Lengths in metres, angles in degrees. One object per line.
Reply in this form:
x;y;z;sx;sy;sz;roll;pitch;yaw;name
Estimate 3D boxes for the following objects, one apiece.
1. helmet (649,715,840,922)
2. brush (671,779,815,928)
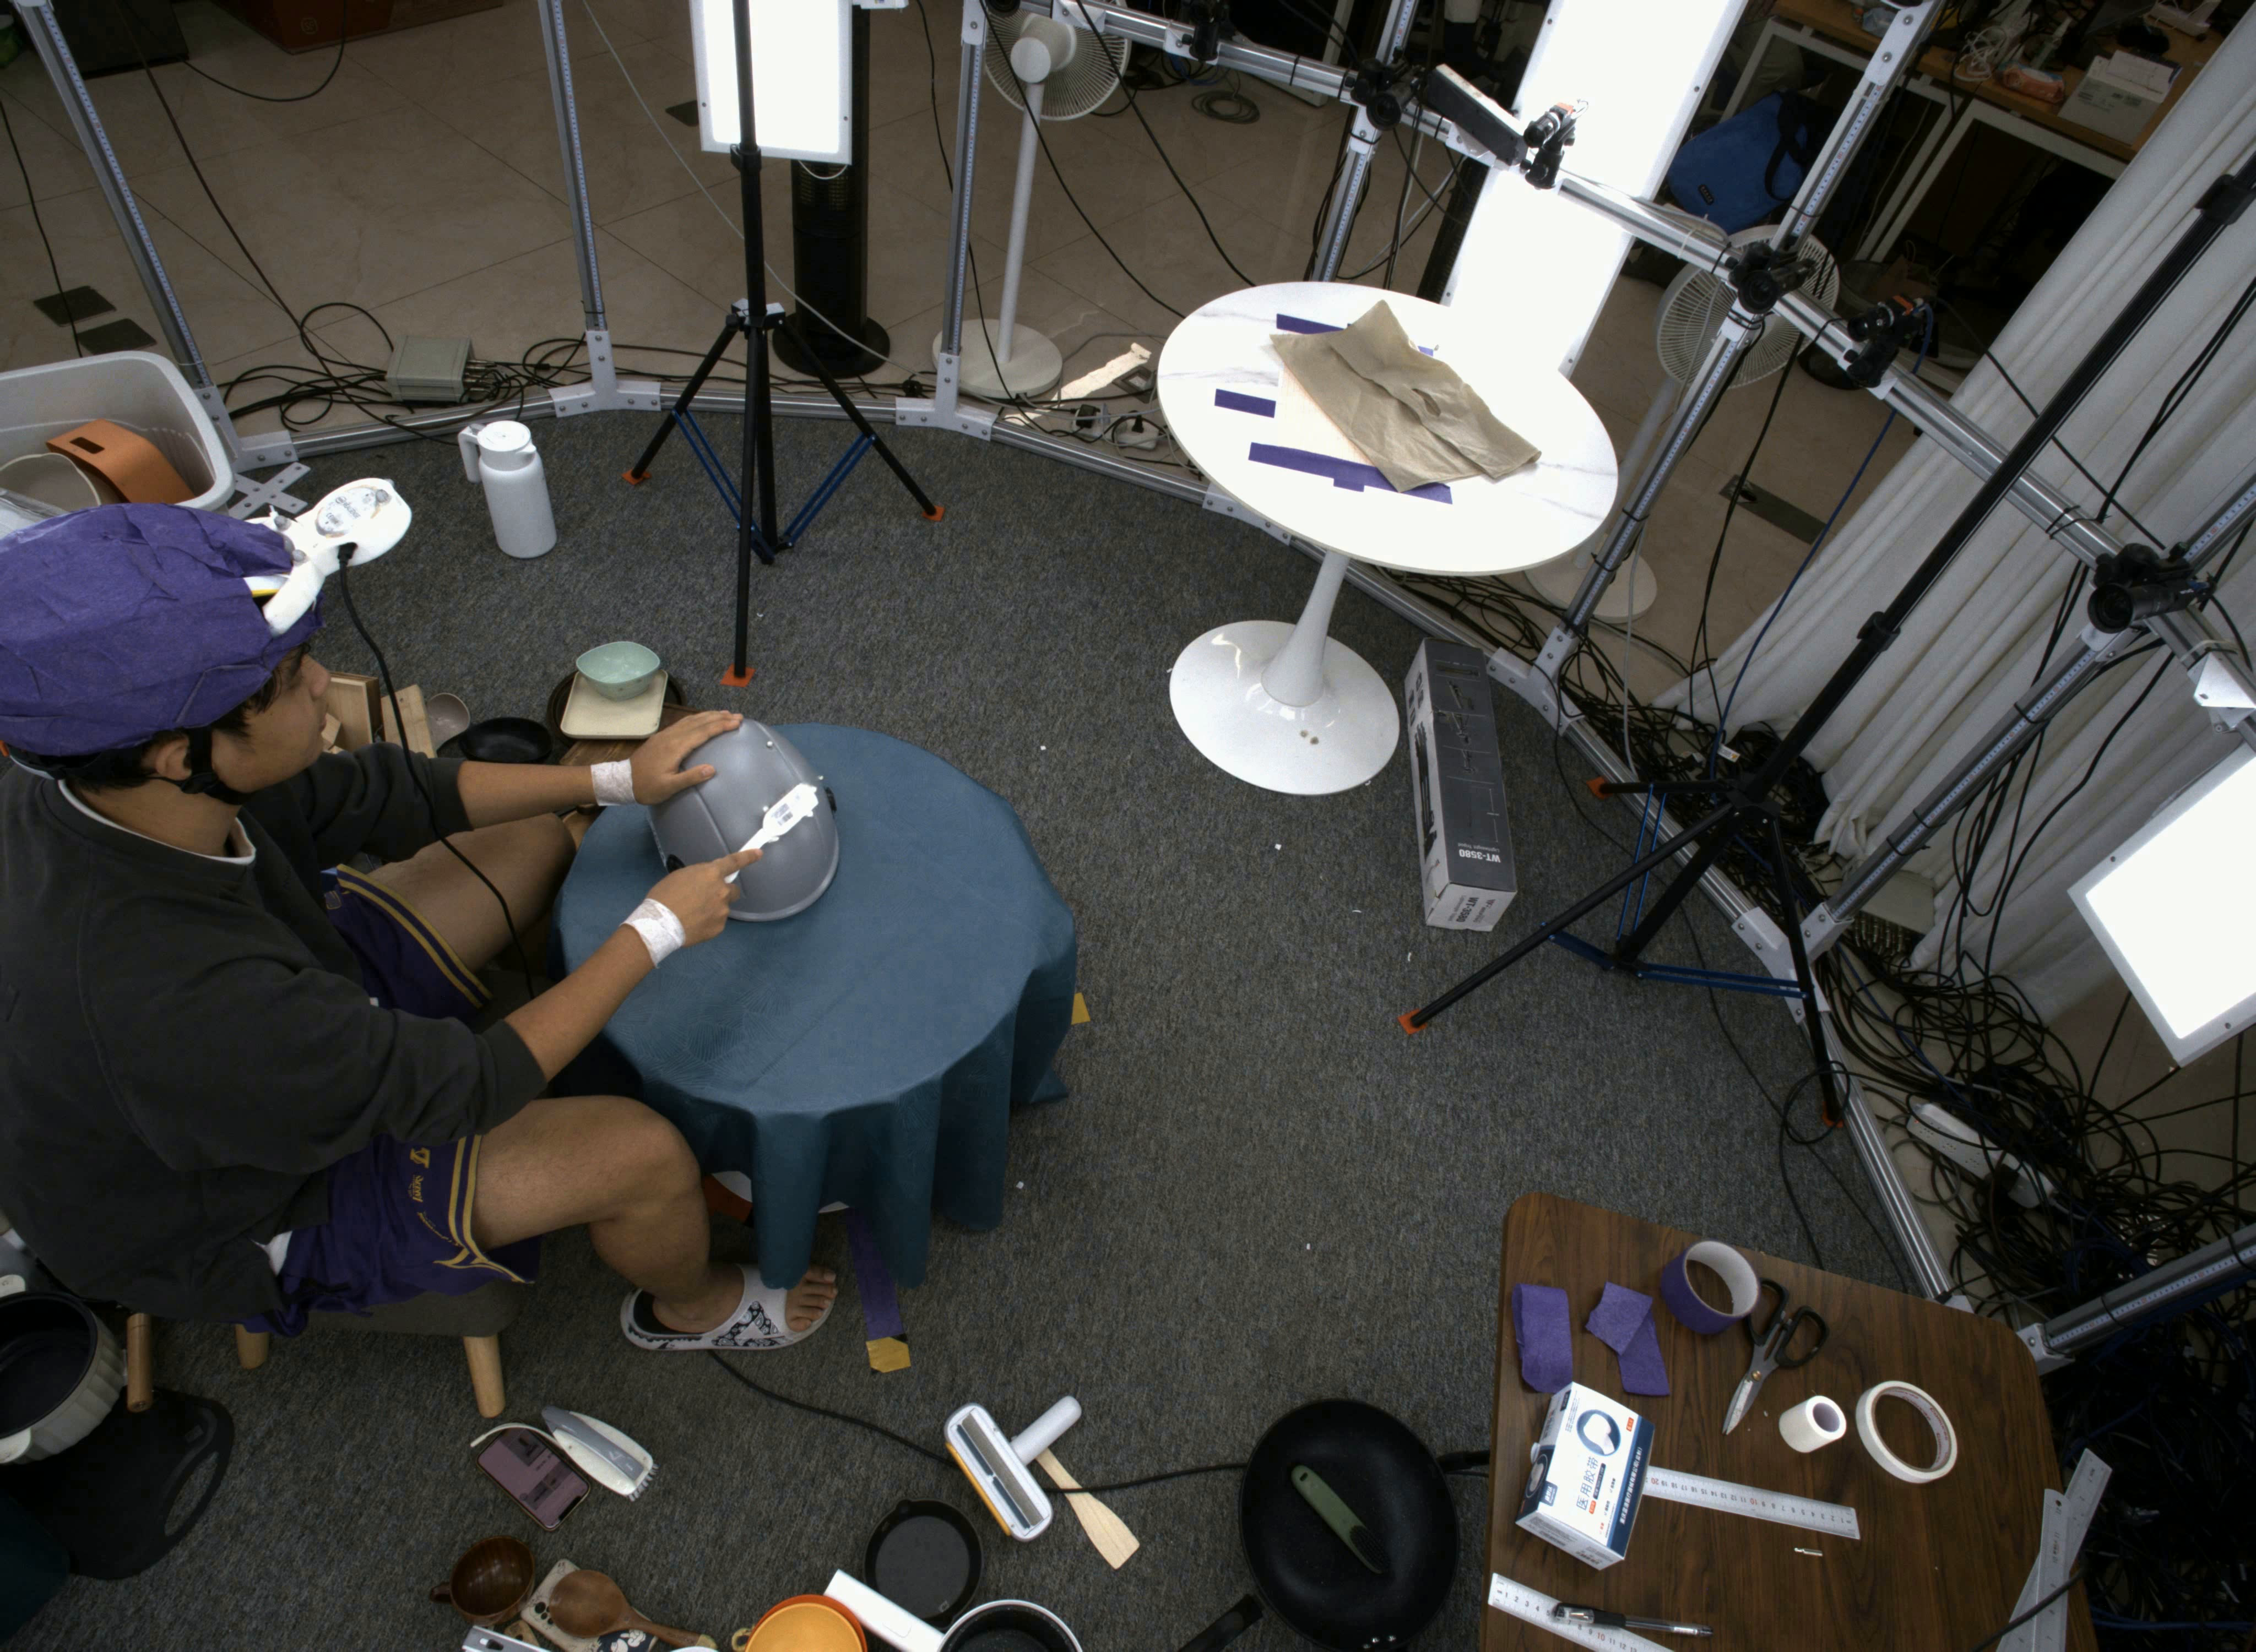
-0.489;-0.033;1.633;0.233;0.172;0.270;-29;66;-28;helmet
-0.452;0.030;1.511;0.035;0.049;0.243;49;56;-17;brush
